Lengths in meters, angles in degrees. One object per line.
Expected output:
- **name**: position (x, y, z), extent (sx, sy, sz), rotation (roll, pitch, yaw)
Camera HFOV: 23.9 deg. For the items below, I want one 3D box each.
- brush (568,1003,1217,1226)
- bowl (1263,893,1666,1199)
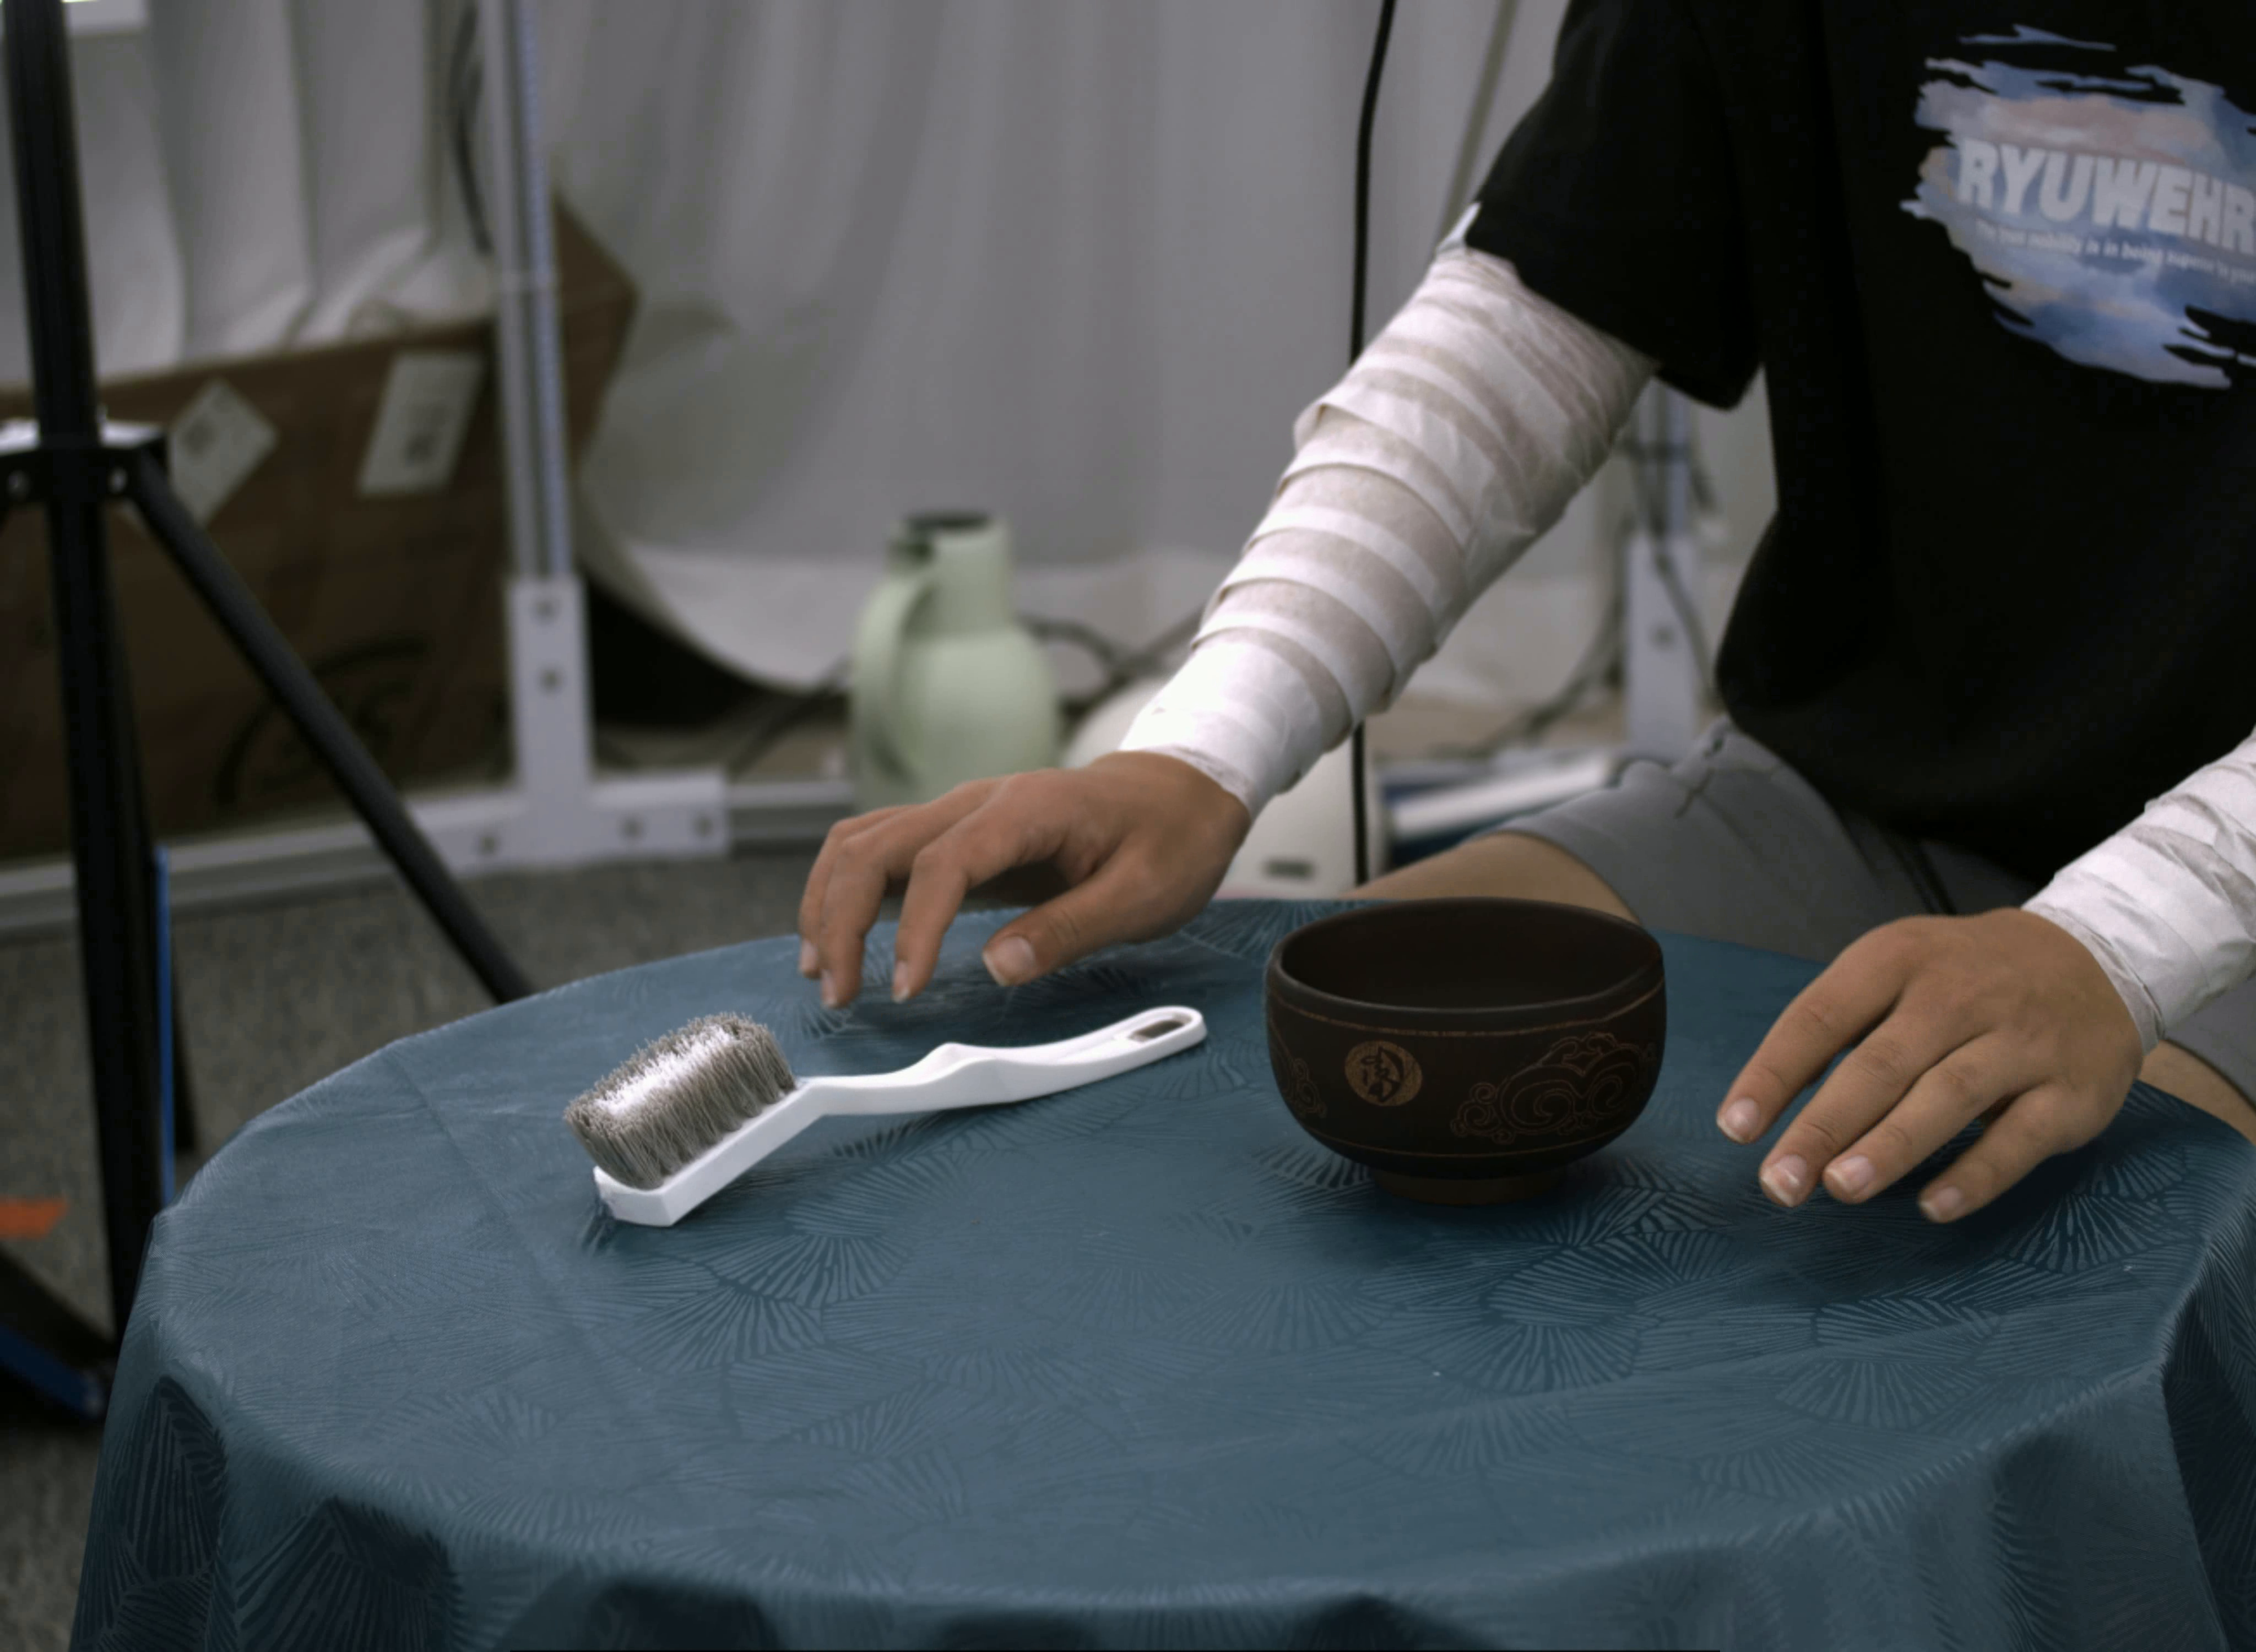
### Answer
- **brush**: position (-0.065, 0.068, 1.617), extent (0.238, 0.050, 0.035), rotation (-16, 22, -38)
- **bowl**: position (0.099, 0.068, 1.552), extent (0.117, 0.070, 0.118), rotation (-2, 14, -1)
